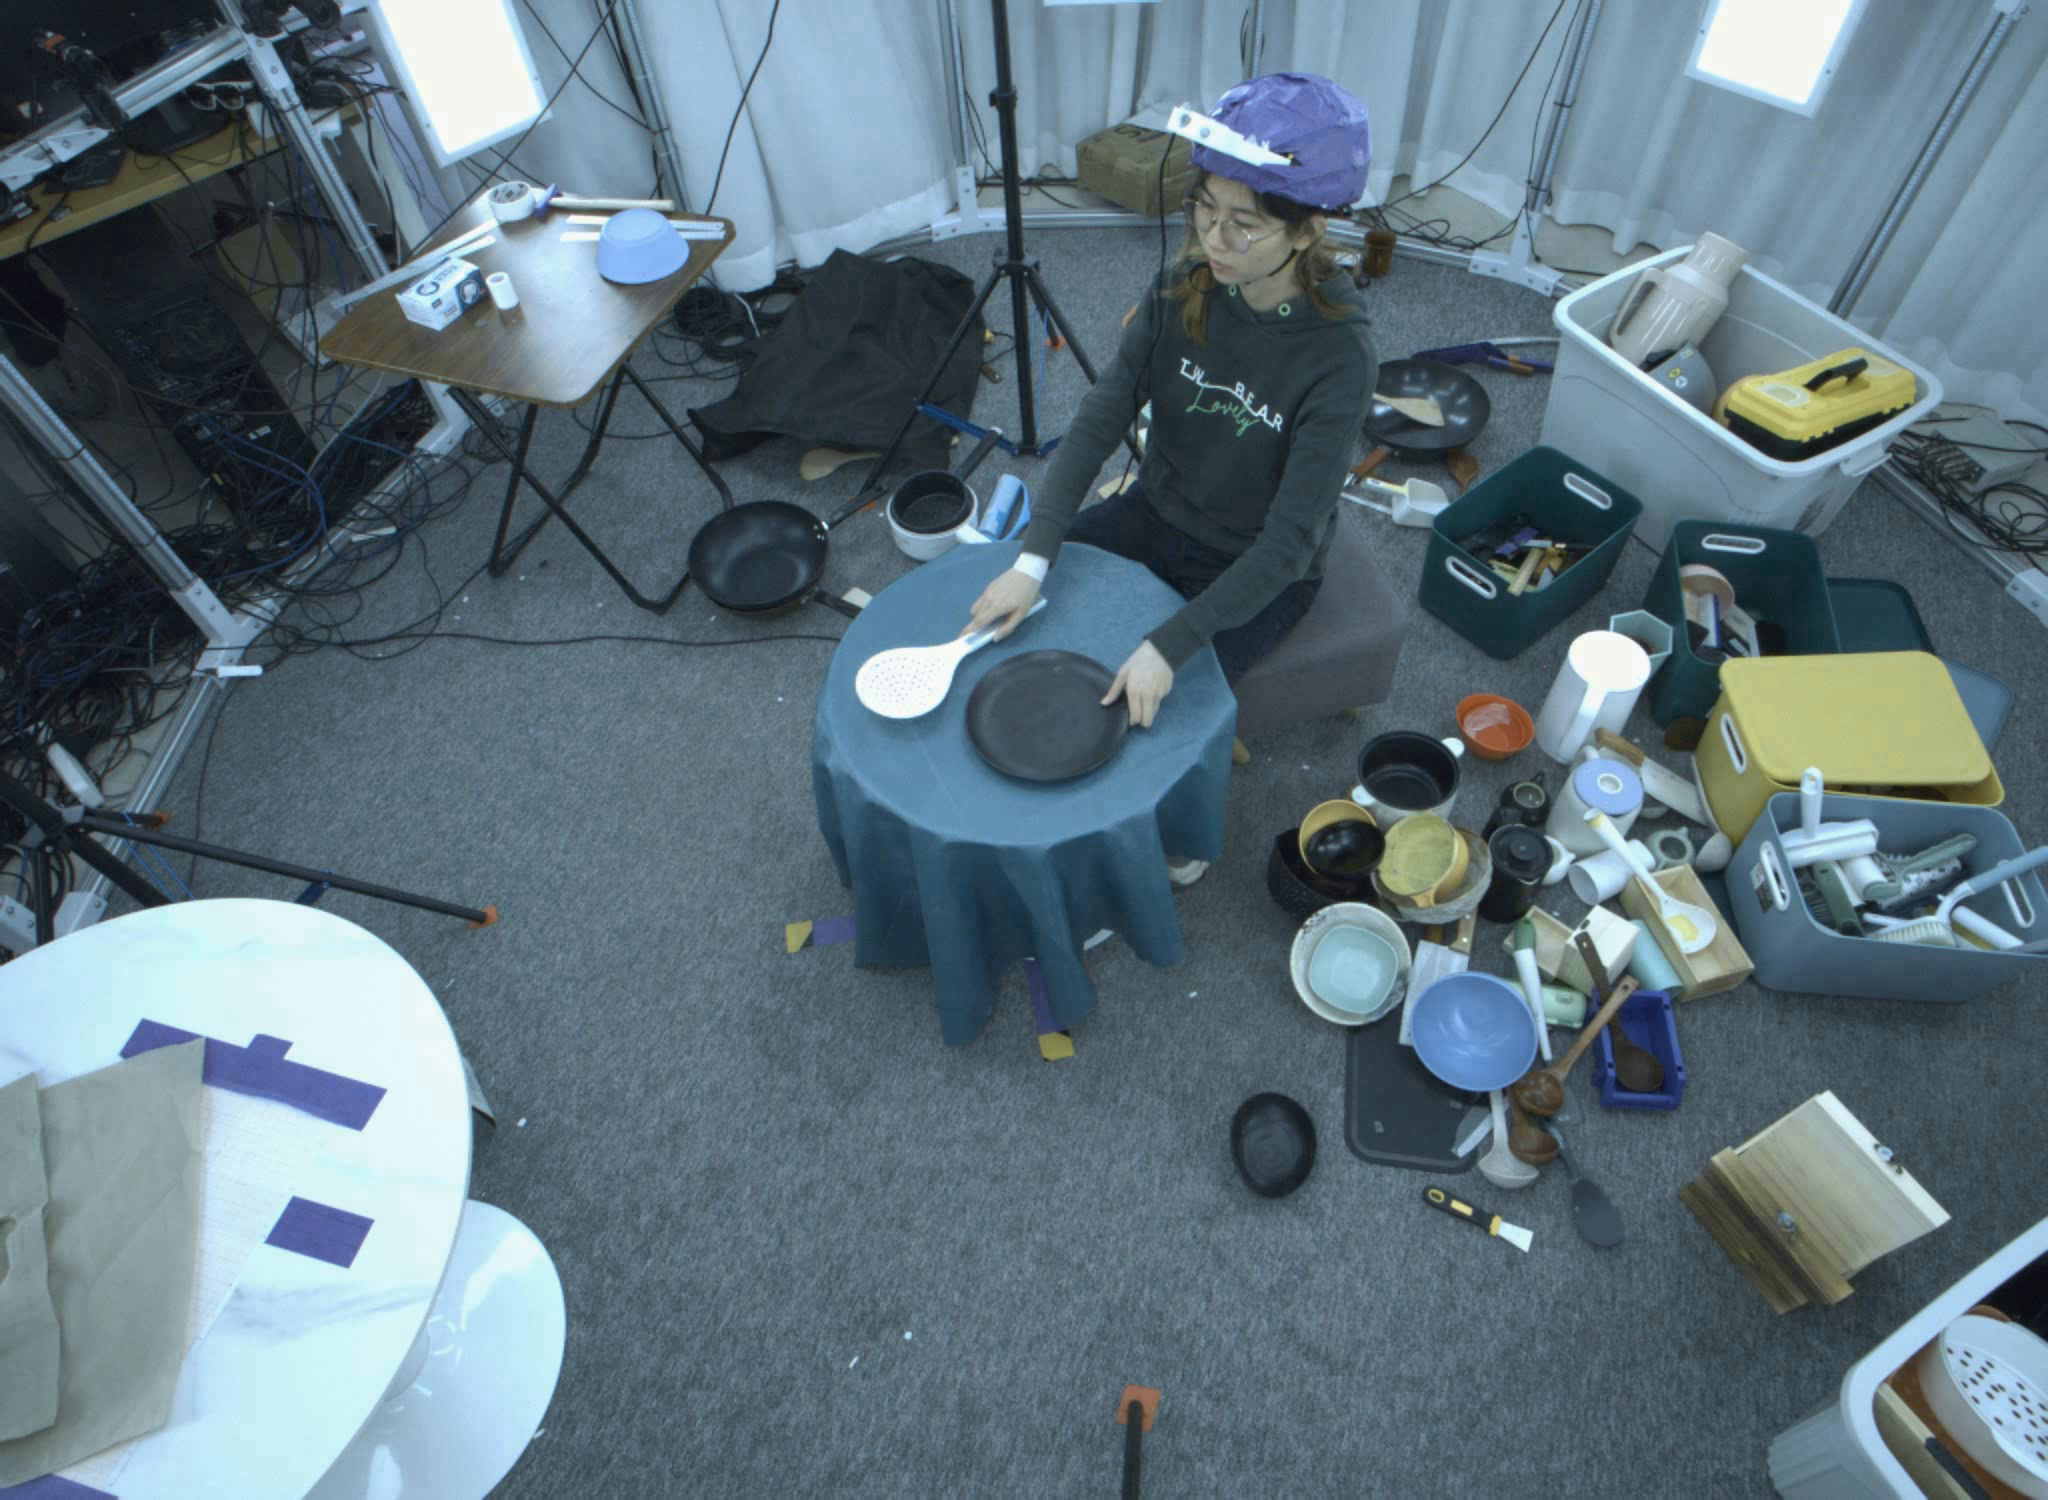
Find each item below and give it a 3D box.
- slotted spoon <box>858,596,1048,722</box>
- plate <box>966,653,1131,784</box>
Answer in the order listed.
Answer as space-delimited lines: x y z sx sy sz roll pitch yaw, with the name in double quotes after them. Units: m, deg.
-0.099 -0.148 1.877 0.352 0.046 0.134 -37 65 -23 "slotted spoon"
0.036 -0.045 1.814 0.244 0.023 0.242 0 55 2 "plate"
